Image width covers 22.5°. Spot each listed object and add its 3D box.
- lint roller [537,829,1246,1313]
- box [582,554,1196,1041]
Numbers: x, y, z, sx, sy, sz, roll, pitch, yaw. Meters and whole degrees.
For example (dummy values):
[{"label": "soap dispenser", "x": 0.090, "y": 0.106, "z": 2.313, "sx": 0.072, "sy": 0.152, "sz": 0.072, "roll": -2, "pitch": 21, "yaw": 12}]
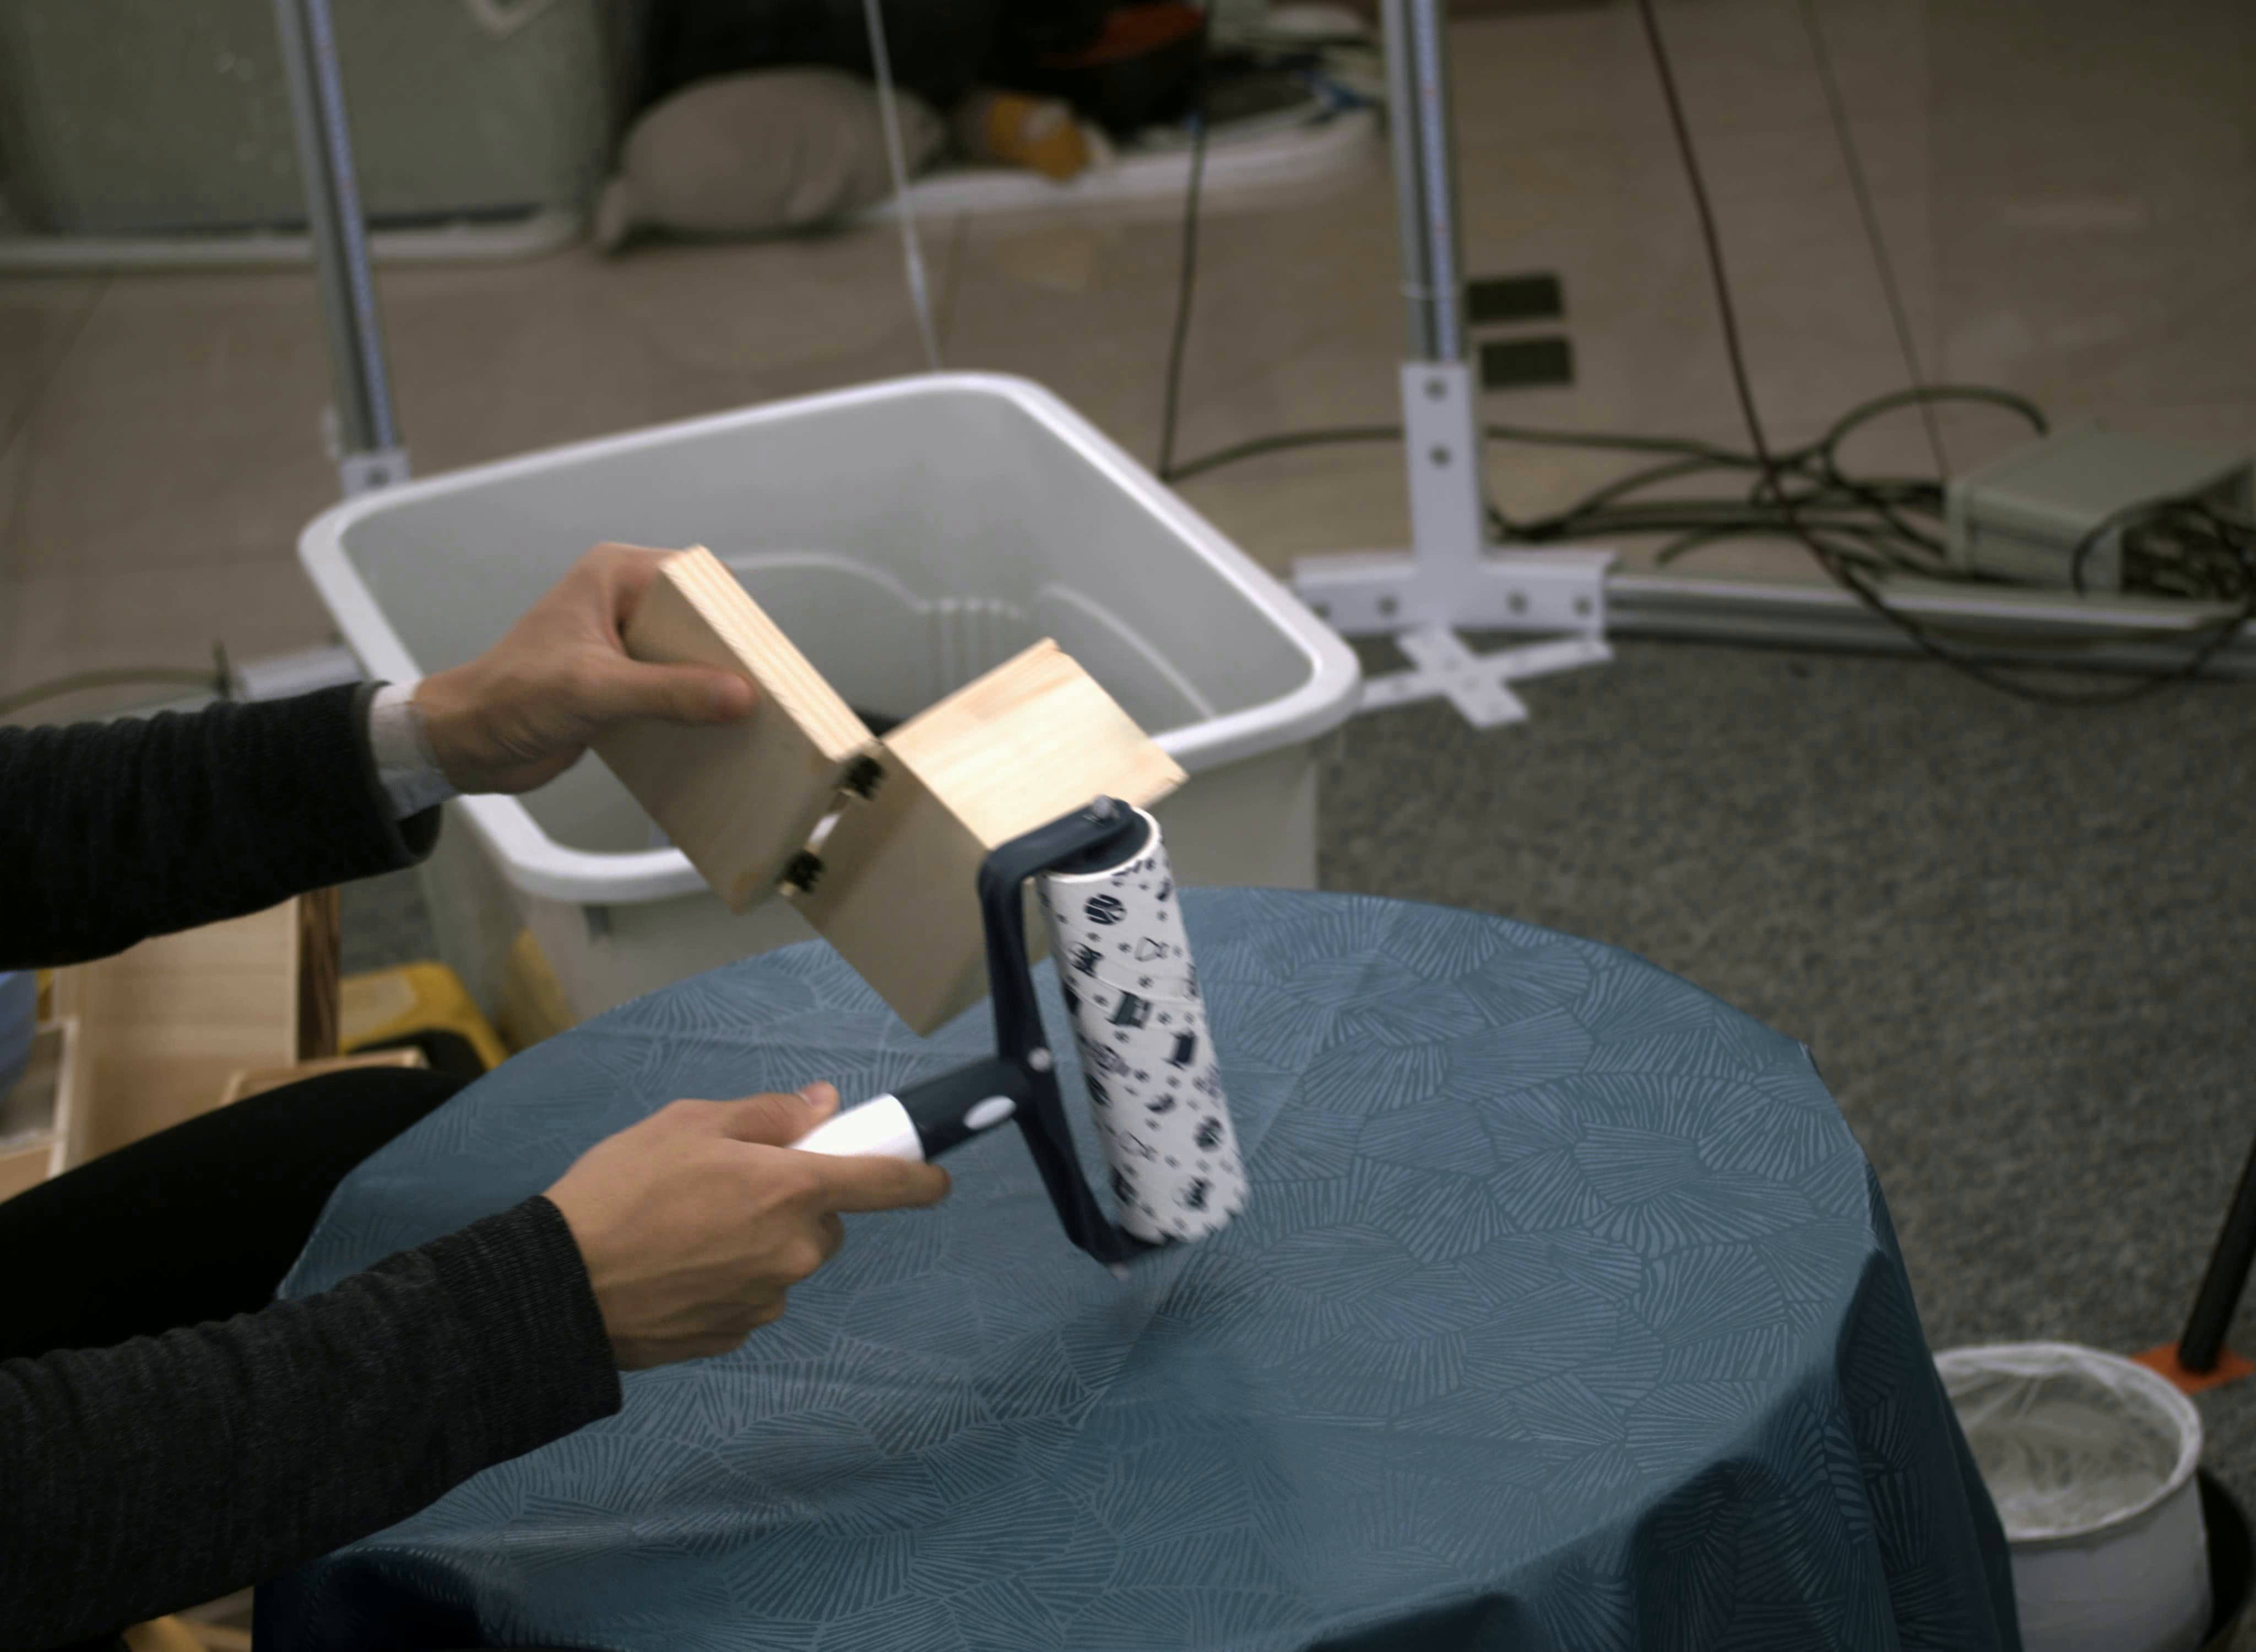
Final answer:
[{"label": "lint roller", "x": -0.085, "y": 0.109, "z": 1.996, "sx": 0.246, "sy": 0.179, "sz": 0.050, "roll": -14, "pitch": 25, "yaw": -11}, {"label": "box", "x": -0.091, "y": -0.027, "z": 2.146, "sx": 0.183, "sy": 0.104, "sz": 0.132, "roll": 45, "pitch": 46, "yaw": 10}]
